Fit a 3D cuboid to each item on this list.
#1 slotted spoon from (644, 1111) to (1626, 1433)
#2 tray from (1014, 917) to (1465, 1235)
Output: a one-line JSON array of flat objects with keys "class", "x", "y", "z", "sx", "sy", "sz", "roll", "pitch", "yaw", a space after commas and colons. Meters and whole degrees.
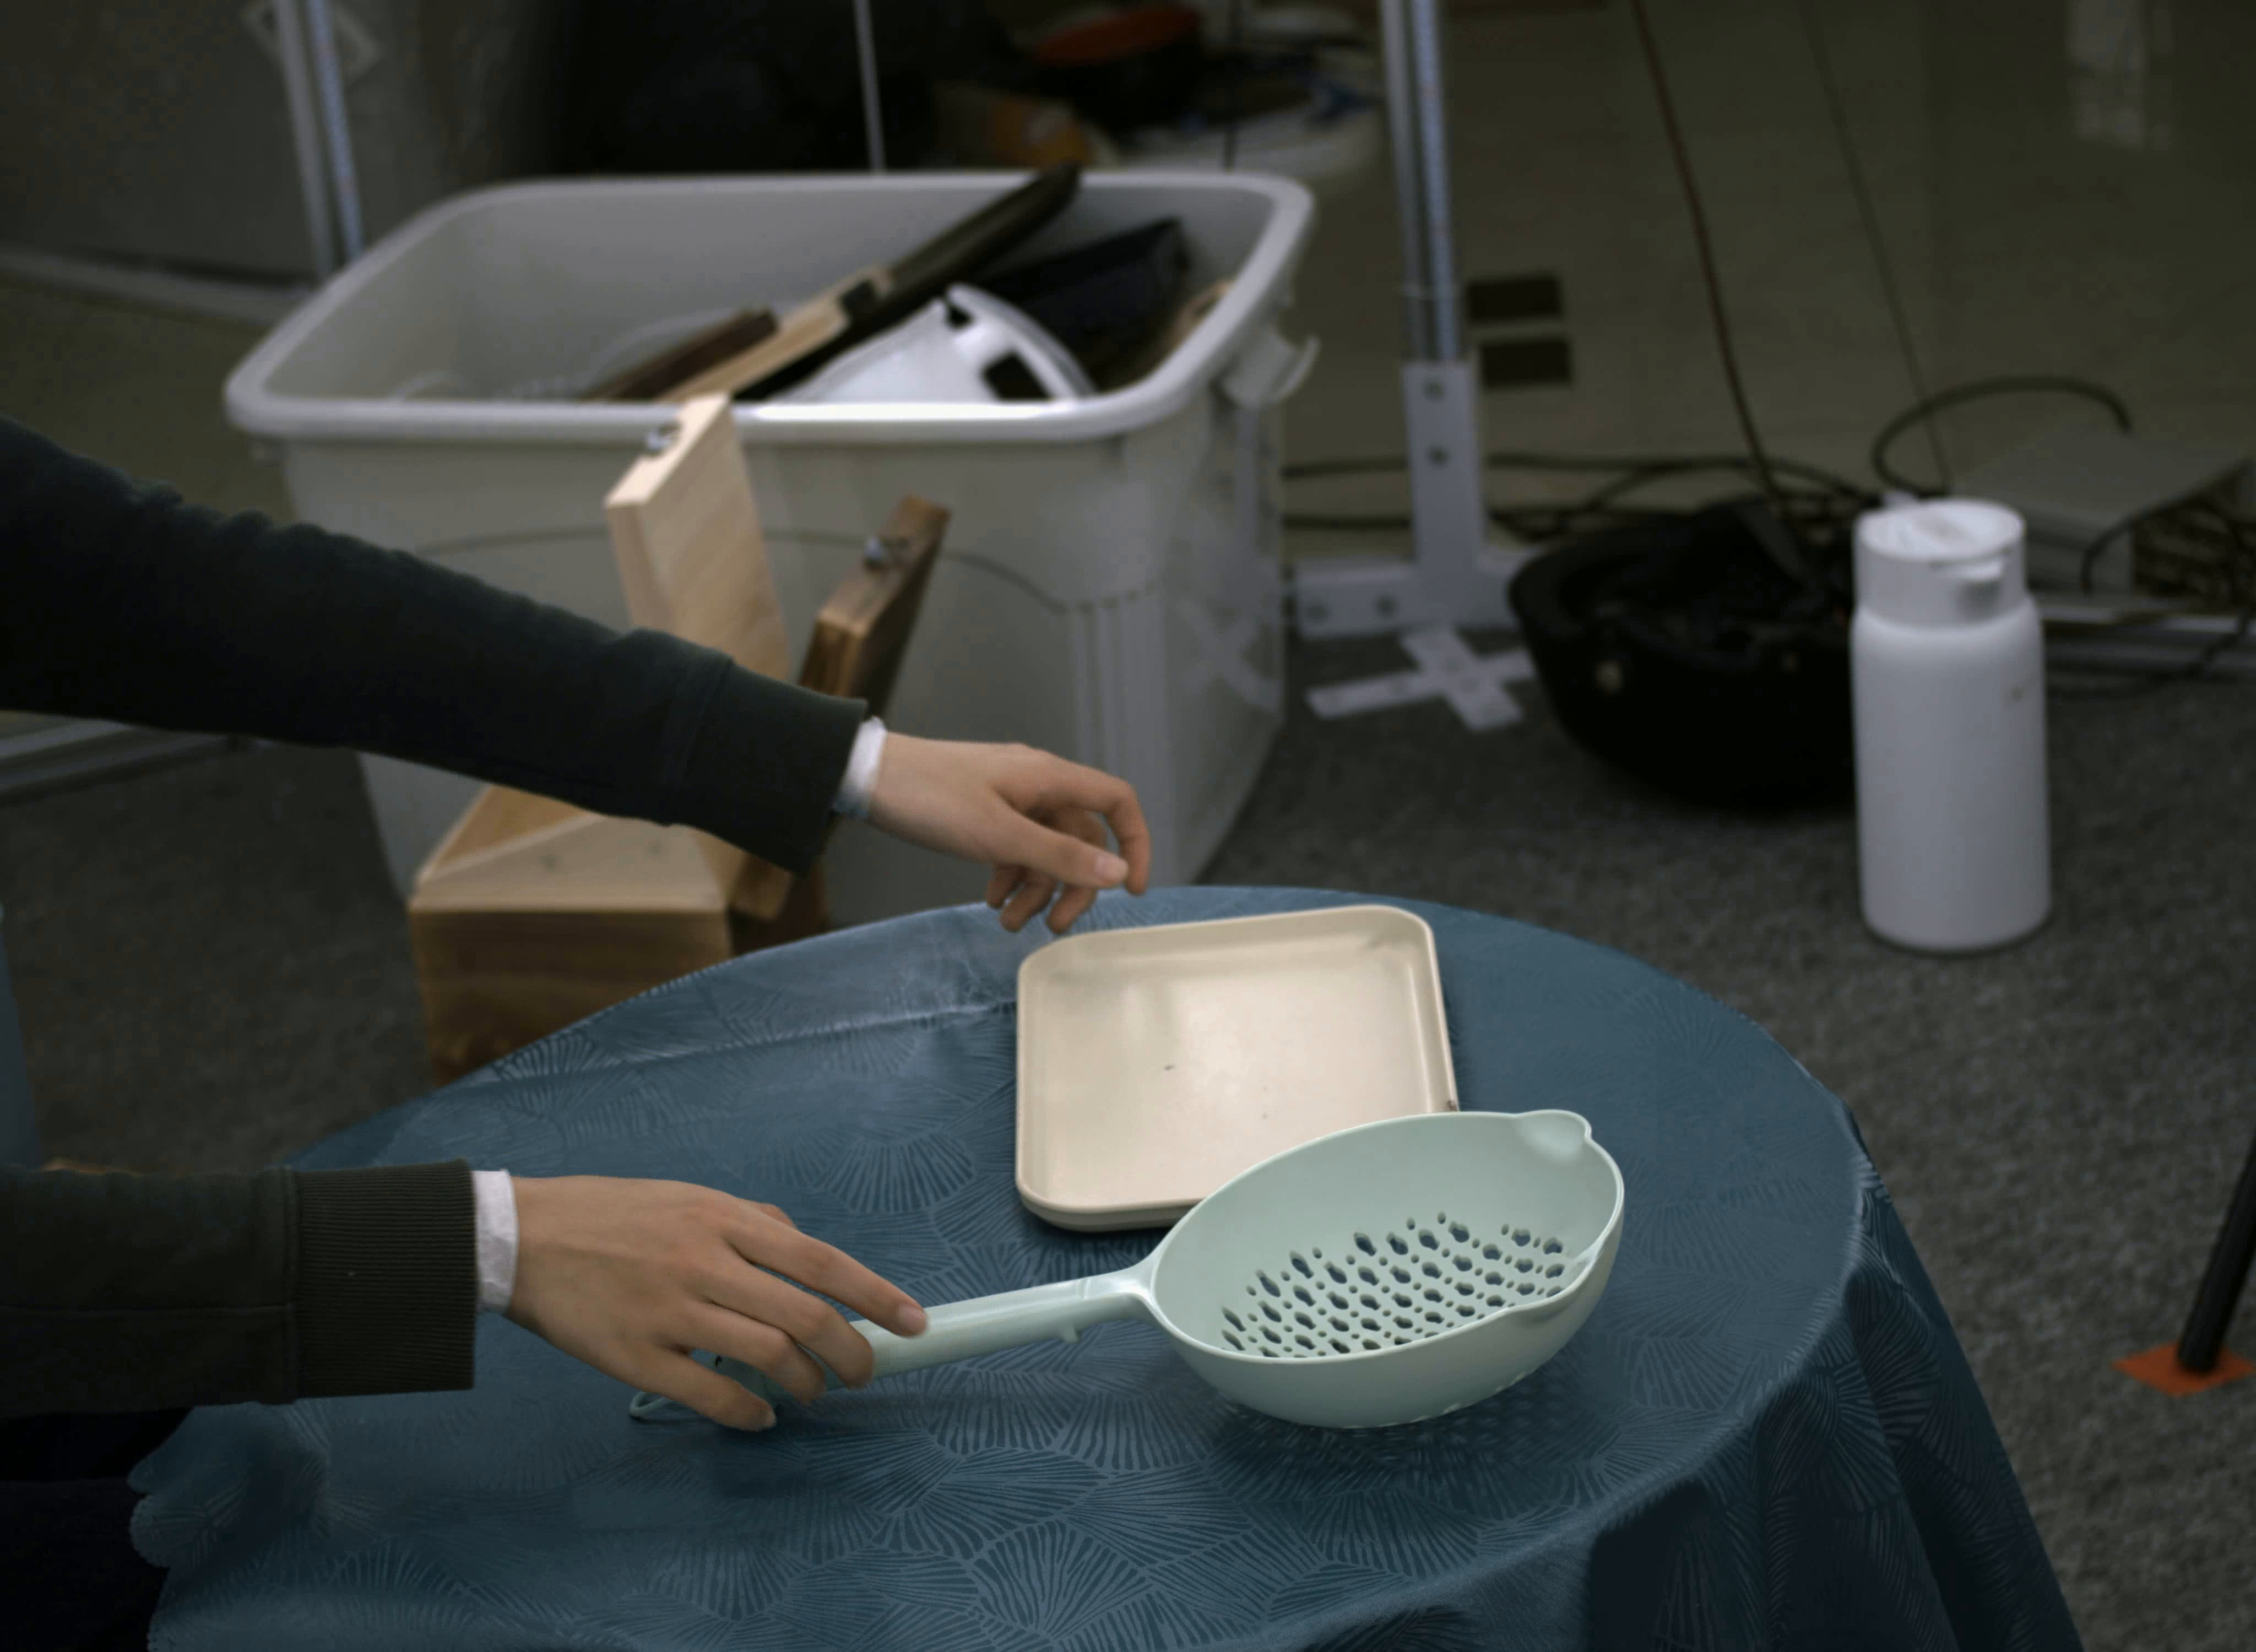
[{"class": "slotted spoon", "x": -0.001, "y": 0.172, "z": 2.006, "sx": 0.358, "sy": 0.076, "sz": 0.167, "roll": -3, "pitch": 24, "yaw": 7}, {"class": "tray", "x": 0.041, "y": 0.097, "z": 2.215, "sx": 0.171, "sy": 0.018, "sz": 0.236, "roll": -5, "pitch": 24, "yaw": 1}]
